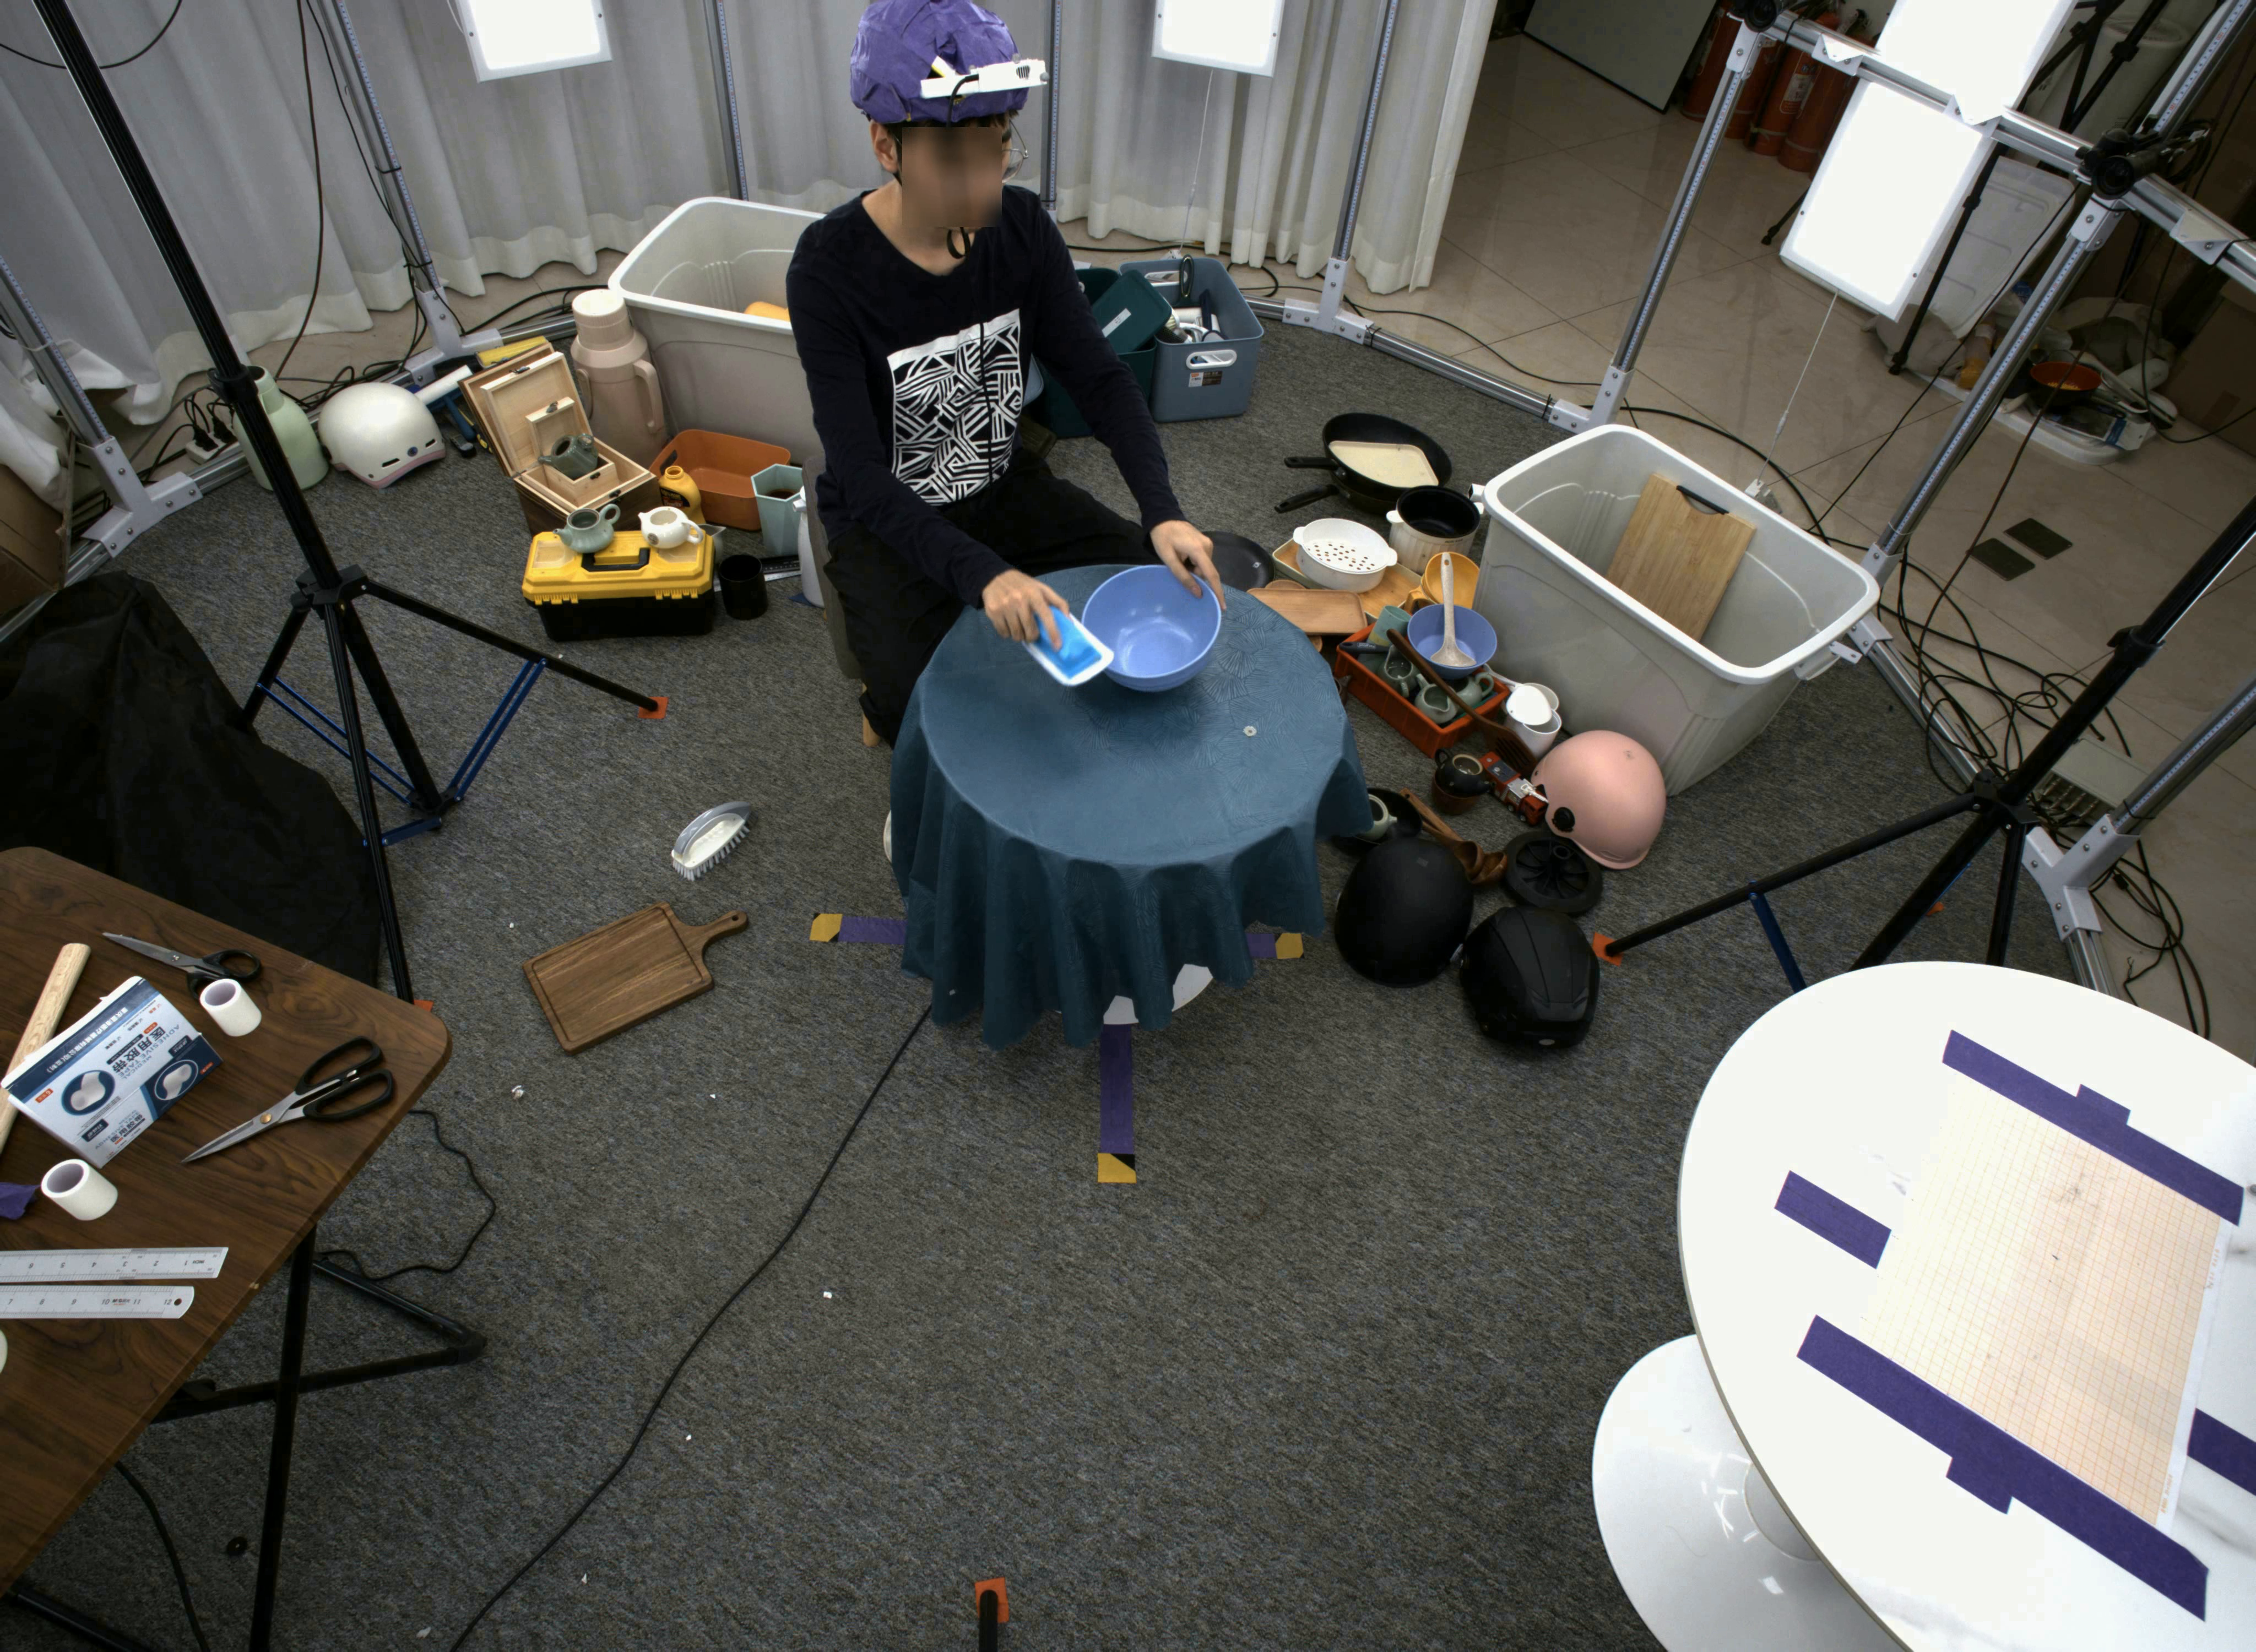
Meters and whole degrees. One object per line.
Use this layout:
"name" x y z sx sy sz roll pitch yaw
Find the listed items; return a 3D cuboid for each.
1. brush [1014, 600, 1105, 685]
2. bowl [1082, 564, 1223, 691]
"brush" -0.094 -0.252 1.719 0.084 0.054 0.147 -29 51 -11
"bowl" 0.038 -0.266 1.827 0.196 0.093 0.201 -3 59 5
